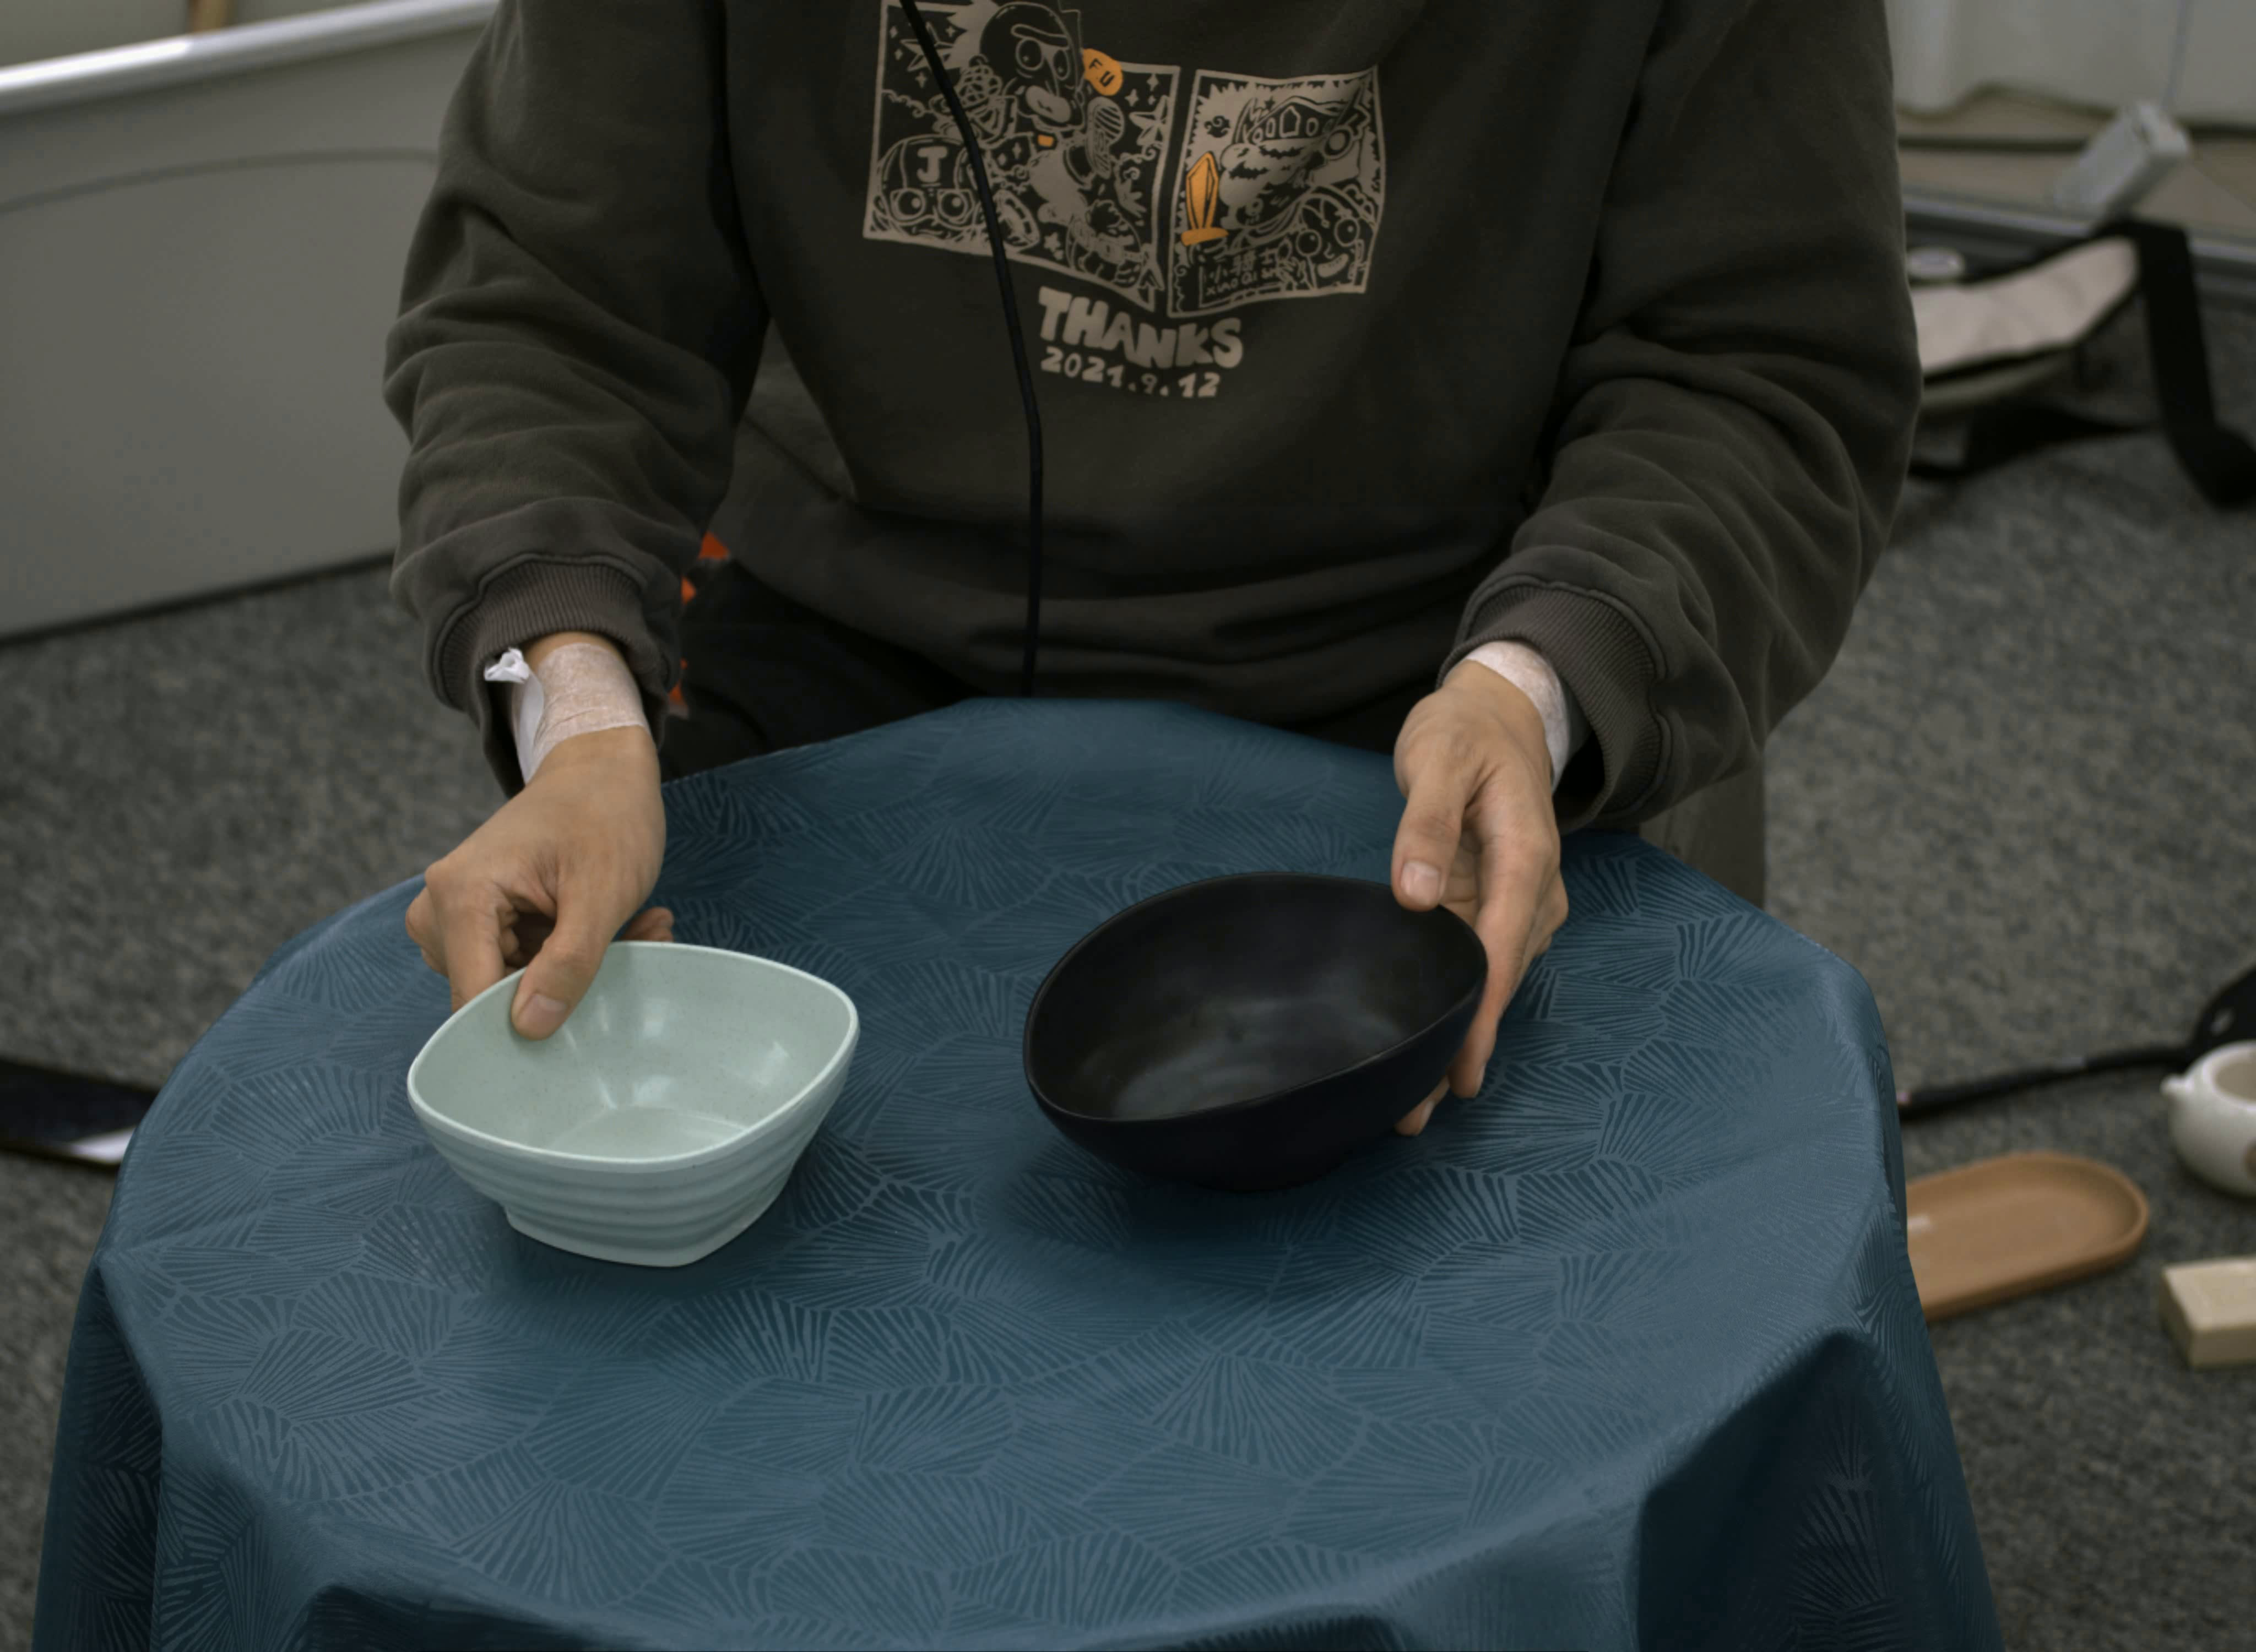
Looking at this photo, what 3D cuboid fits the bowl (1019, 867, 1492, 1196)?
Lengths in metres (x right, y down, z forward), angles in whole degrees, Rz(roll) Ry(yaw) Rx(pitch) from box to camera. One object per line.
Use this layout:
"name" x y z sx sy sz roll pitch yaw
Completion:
"bowl" 0.044 0.079 1.871 0.172 0.066 0.137 -26 35 -34

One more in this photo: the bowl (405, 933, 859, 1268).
"bowl" -0.162 0.097 1.860 0.151 0.058 0.154 -1 28 1
